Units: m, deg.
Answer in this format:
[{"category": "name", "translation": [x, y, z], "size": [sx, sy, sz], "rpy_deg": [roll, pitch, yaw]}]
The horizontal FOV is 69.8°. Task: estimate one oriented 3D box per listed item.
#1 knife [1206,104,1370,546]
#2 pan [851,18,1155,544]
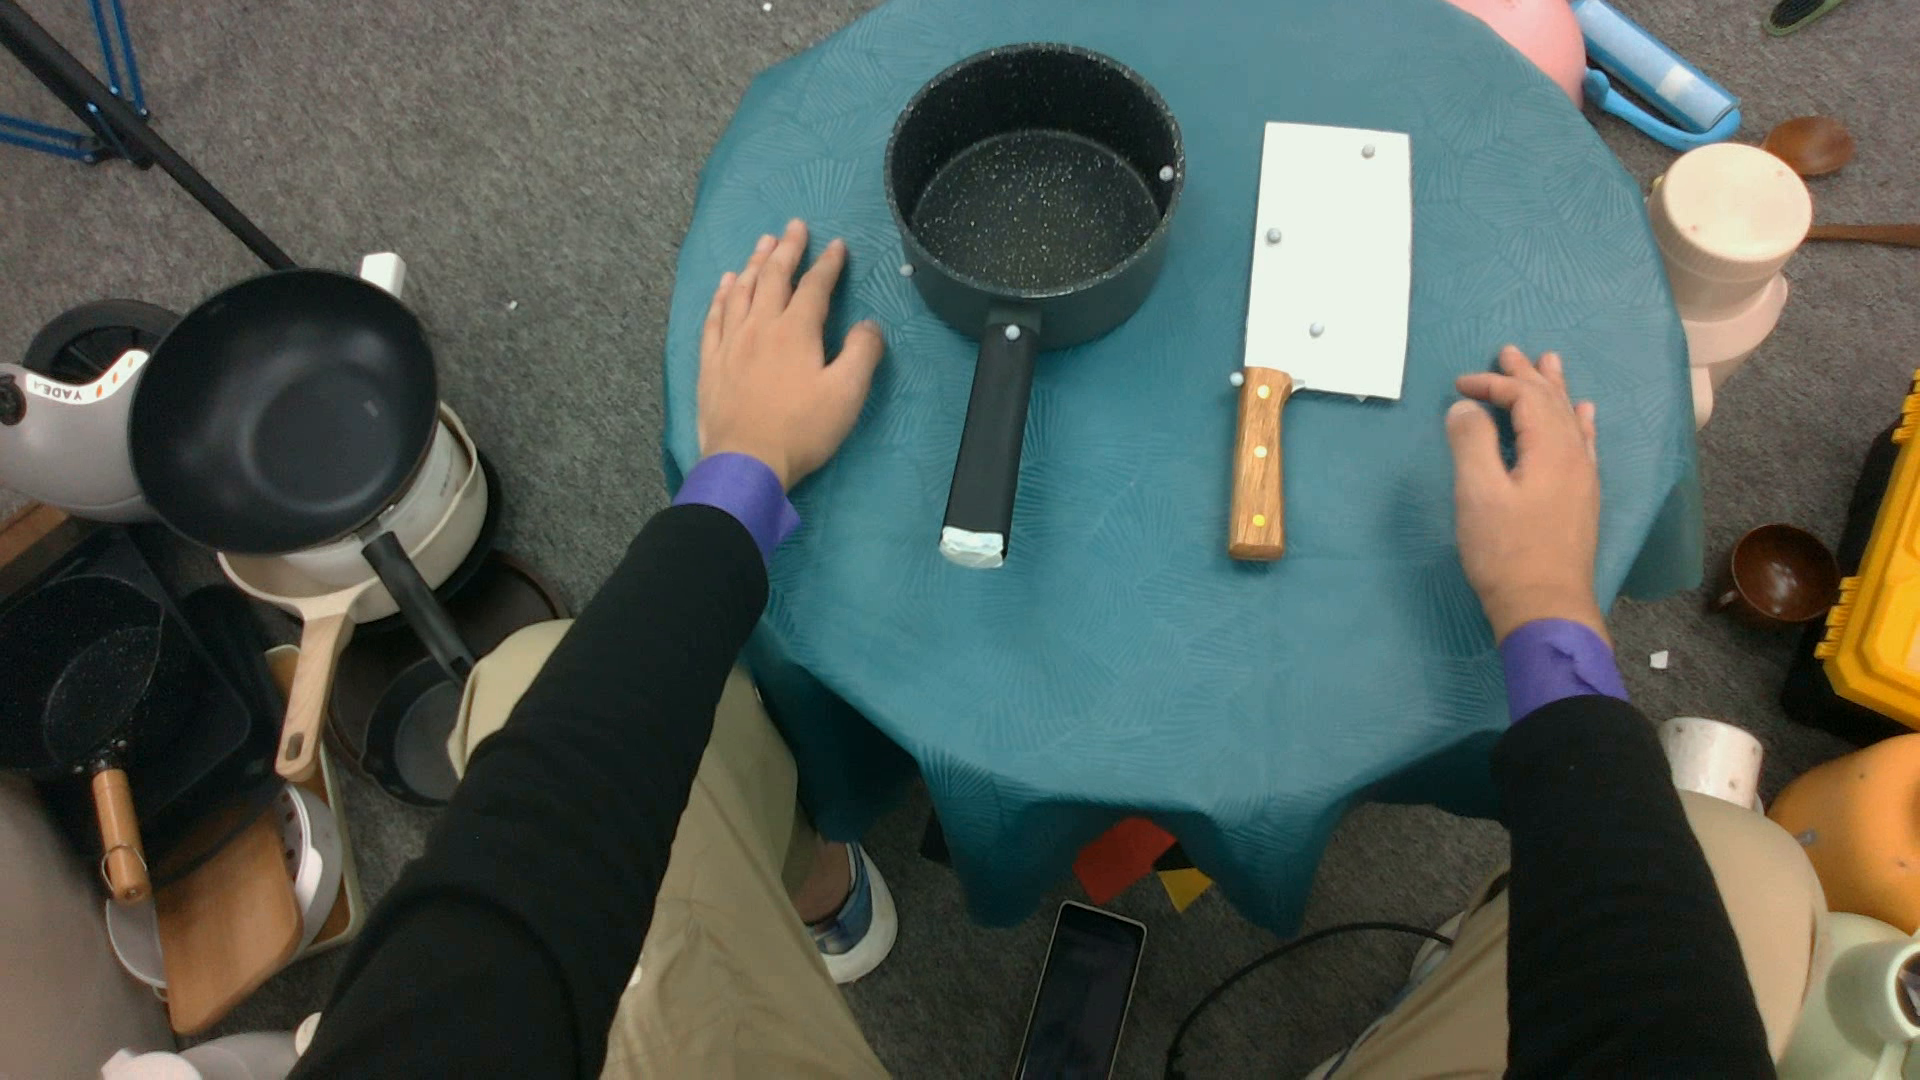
[{"category": "knife", "translation": [0.194, -0.134, 0.808], "size": [0.093, 0.021, 0.307], "rpy_deg": [7, 67, 4]}, {"category": "pan", "translation": [0.013, -0.141, 0.783], "size": [0.172, 0.086, 0.330], "rpy_deg": [9, 69, 6]}]
